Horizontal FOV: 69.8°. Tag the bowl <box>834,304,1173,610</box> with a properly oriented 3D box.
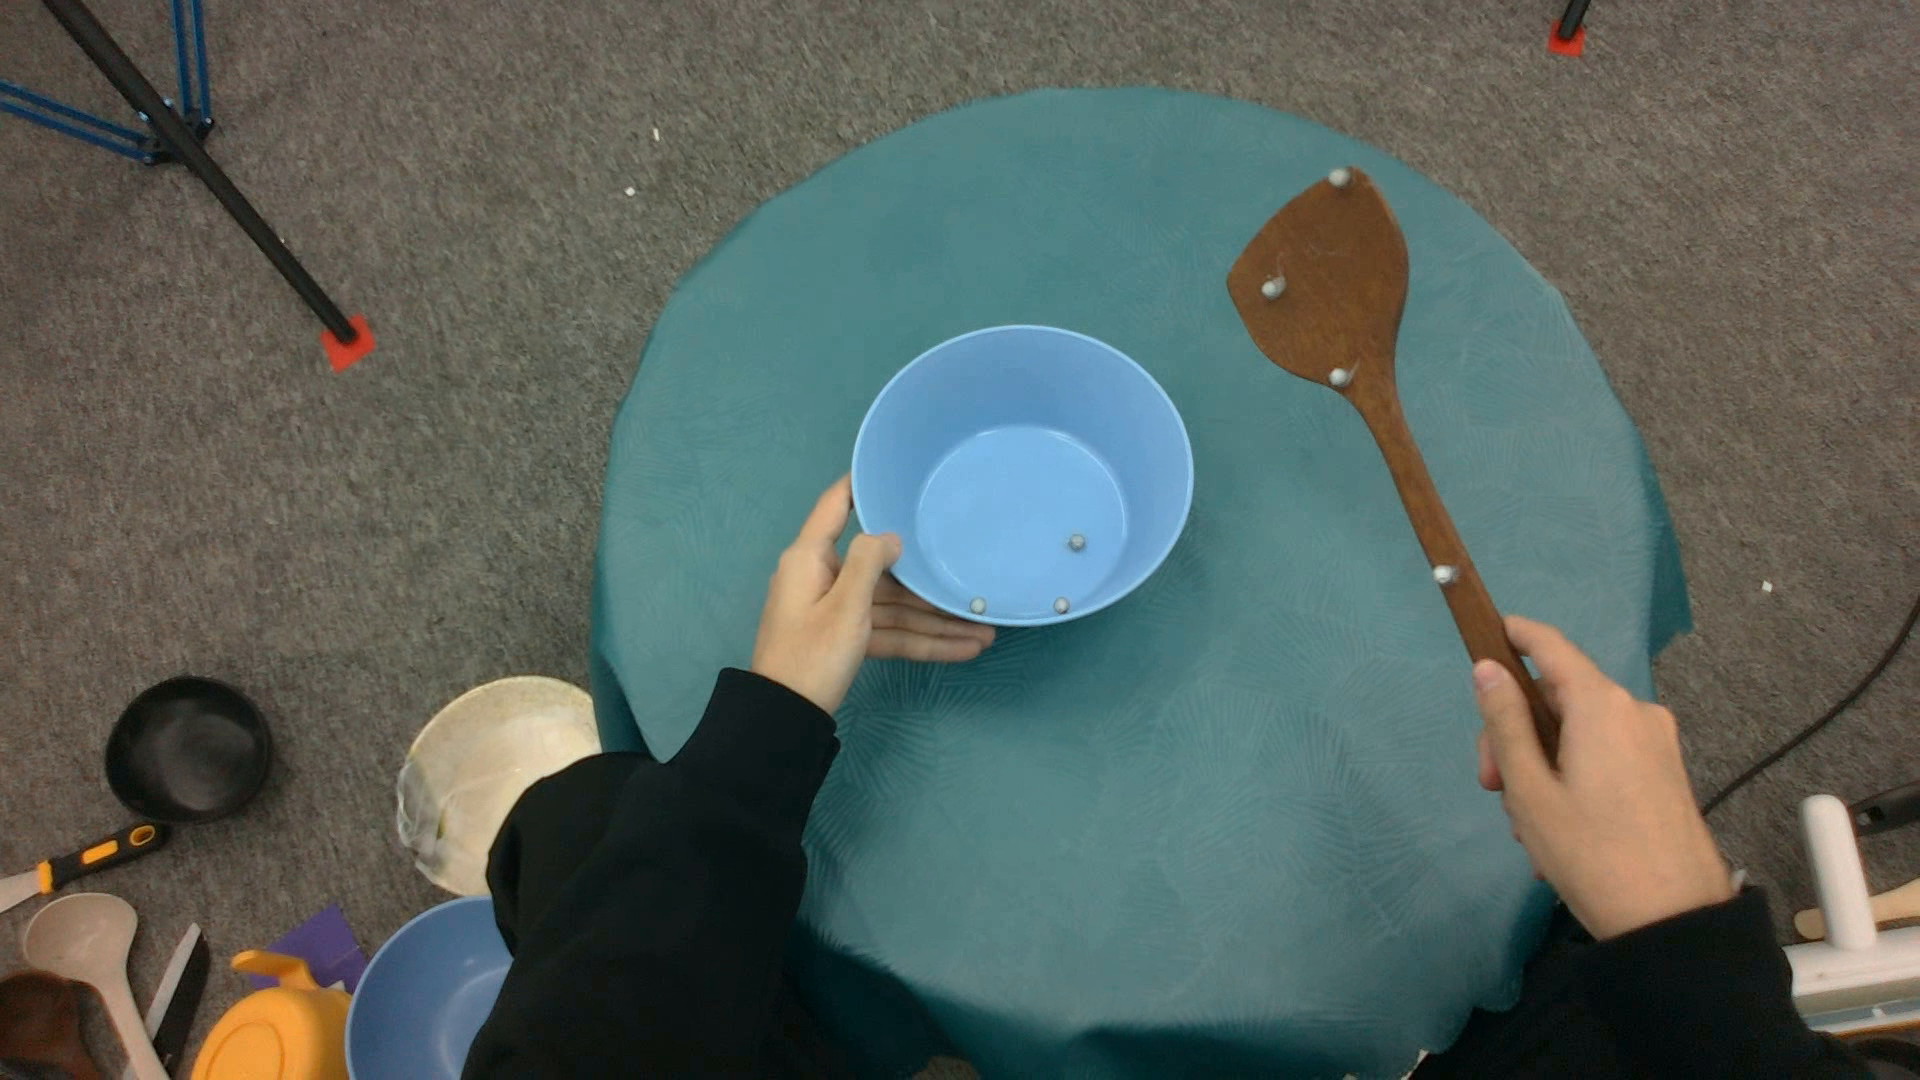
[{"bbox_3d":[0.023,-0.035,0.736,0.176,0.070,0.176,0,66,1],"label":"bowl"}]

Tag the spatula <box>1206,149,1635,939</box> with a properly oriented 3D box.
[{"bbox_3d":[0.205,-0.012,0.620,0.016,0.095,0.387,5,57,-38],"label":"spatula"}]
